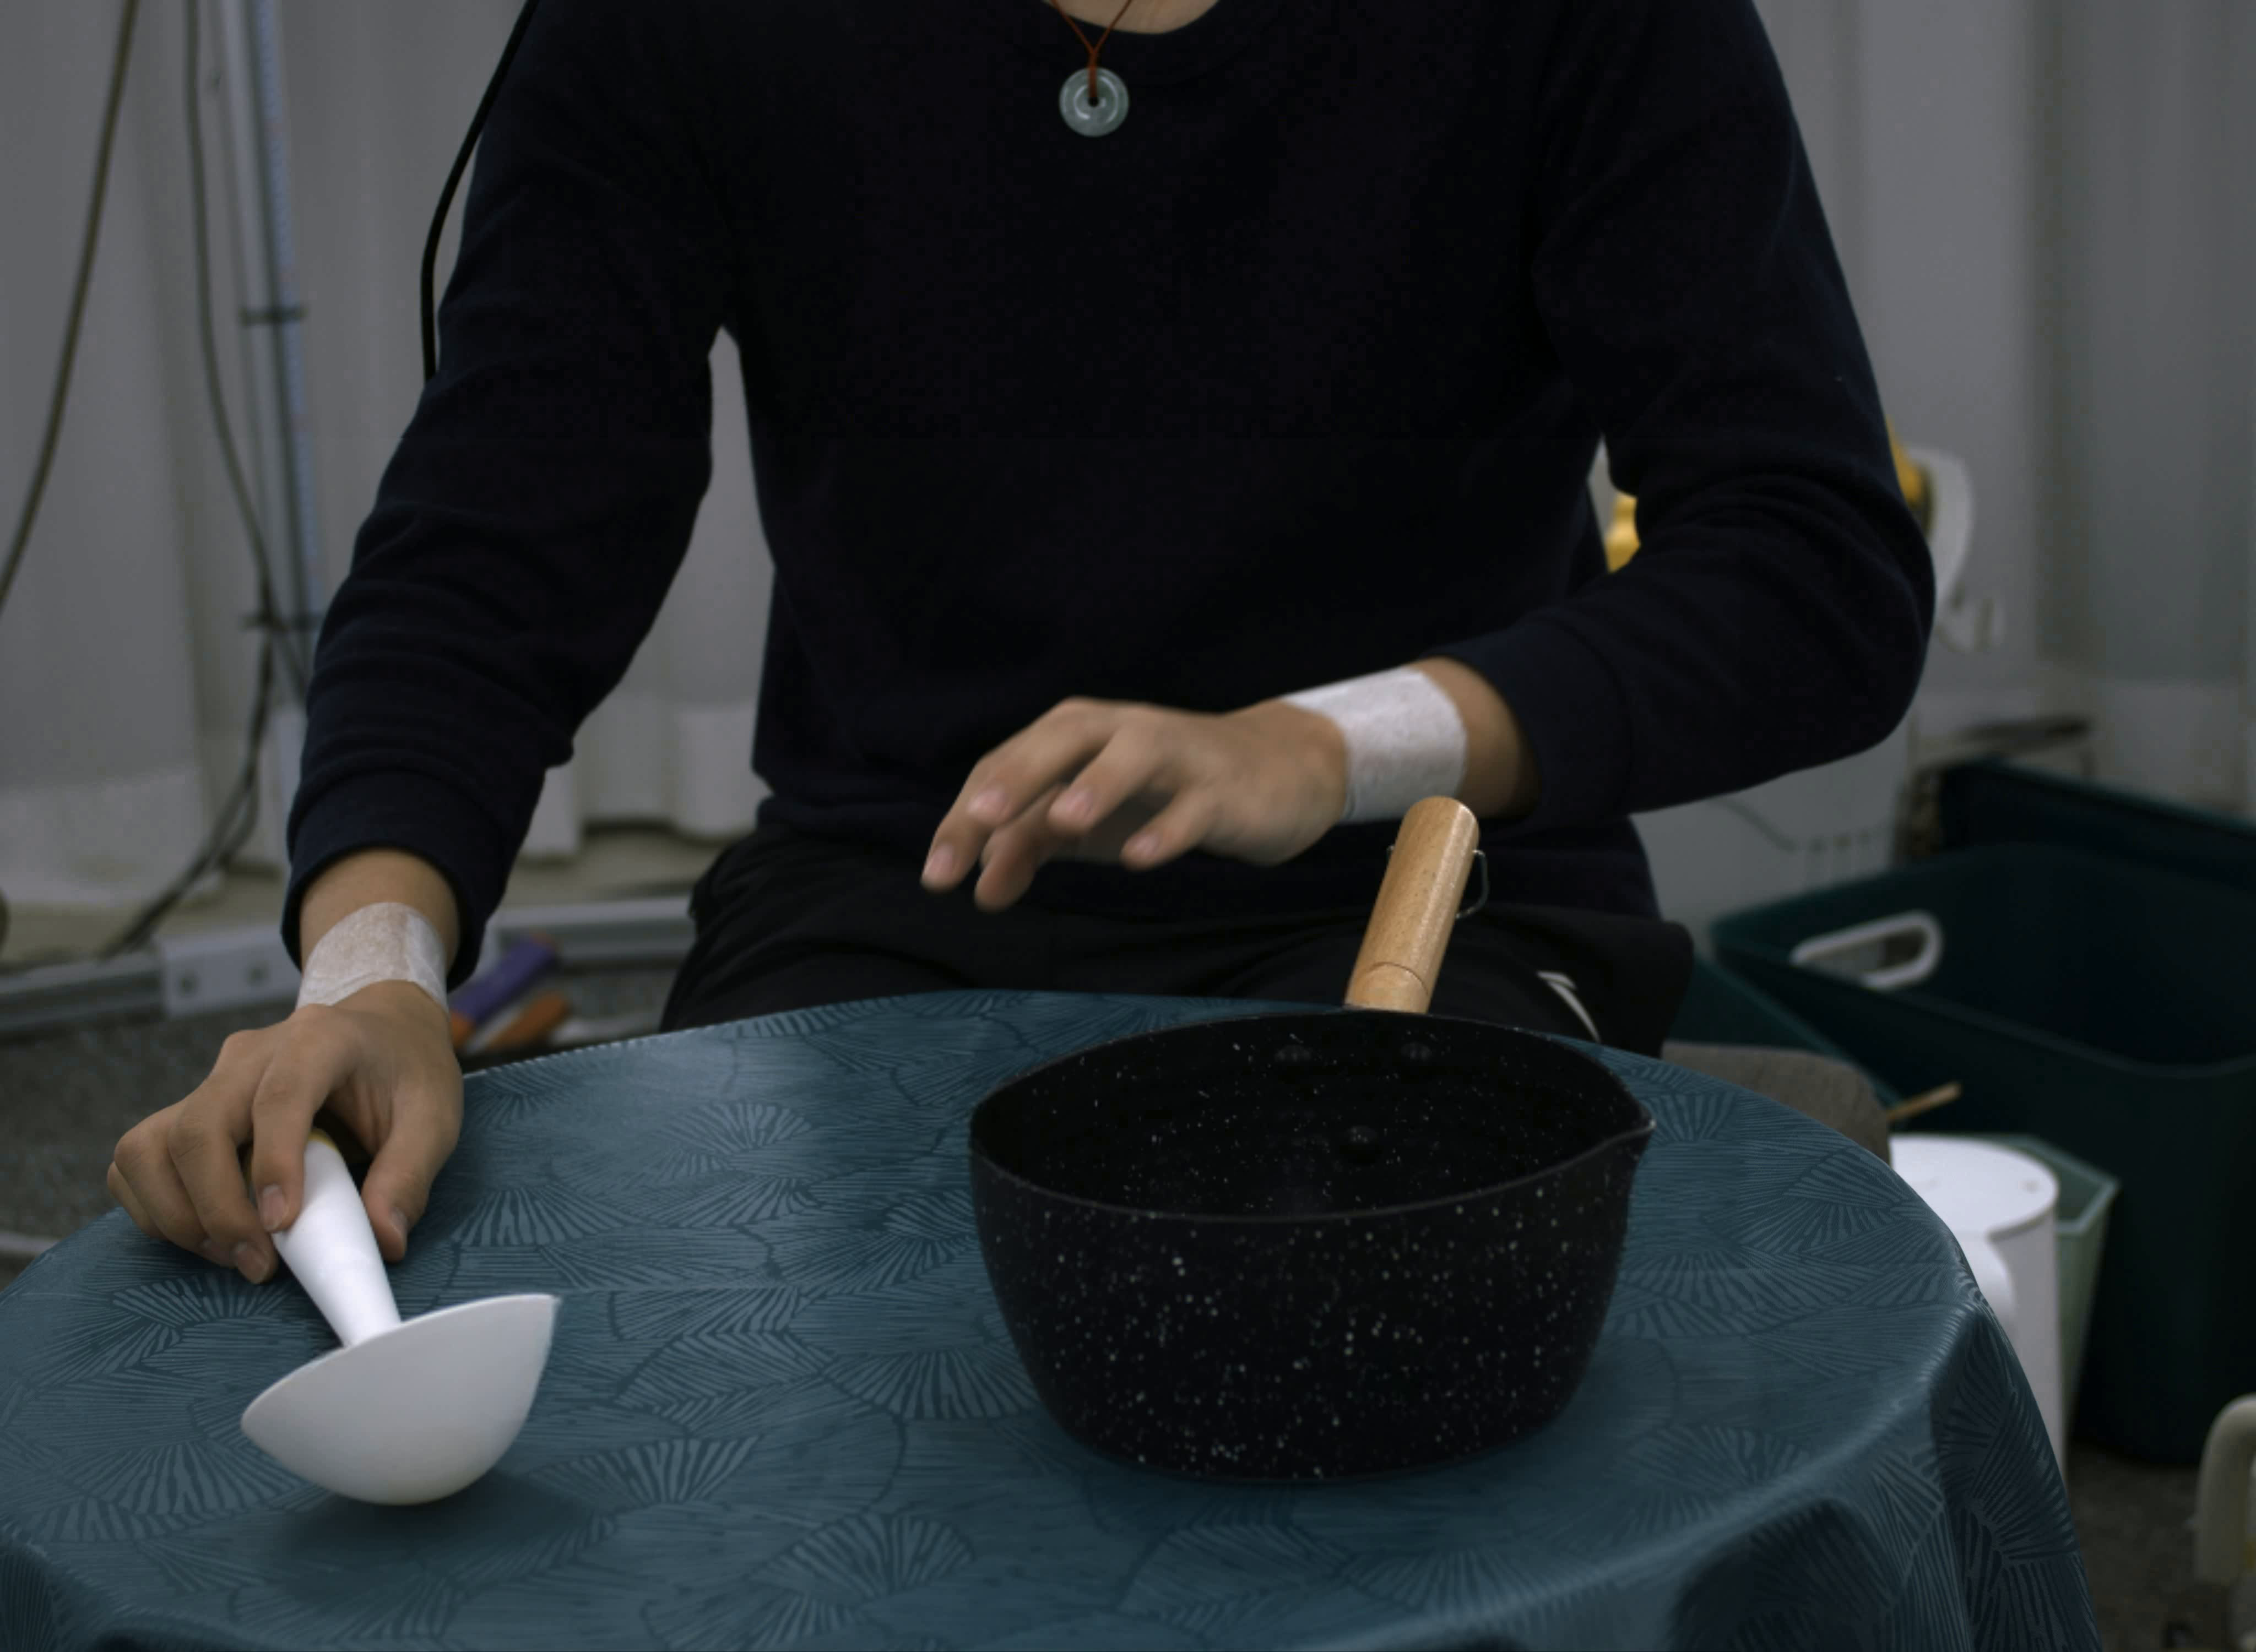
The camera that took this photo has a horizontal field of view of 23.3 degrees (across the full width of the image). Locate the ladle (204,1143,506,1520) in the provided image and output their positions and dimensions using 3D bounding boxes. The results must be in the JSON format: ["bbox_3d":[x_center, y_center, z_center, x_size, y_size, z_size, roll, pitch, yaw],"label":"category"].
[{"bbox_3d":[-0.232,0.132,1.584,0.090,0.069,0.295,-28,18,-7],"label":"ladle"}]

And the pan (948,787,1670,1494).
[{"bbox_3d":[0.065,0.086,1.600,0.207,0.108,0.345,-1,16,12],"label":"pan"}]
